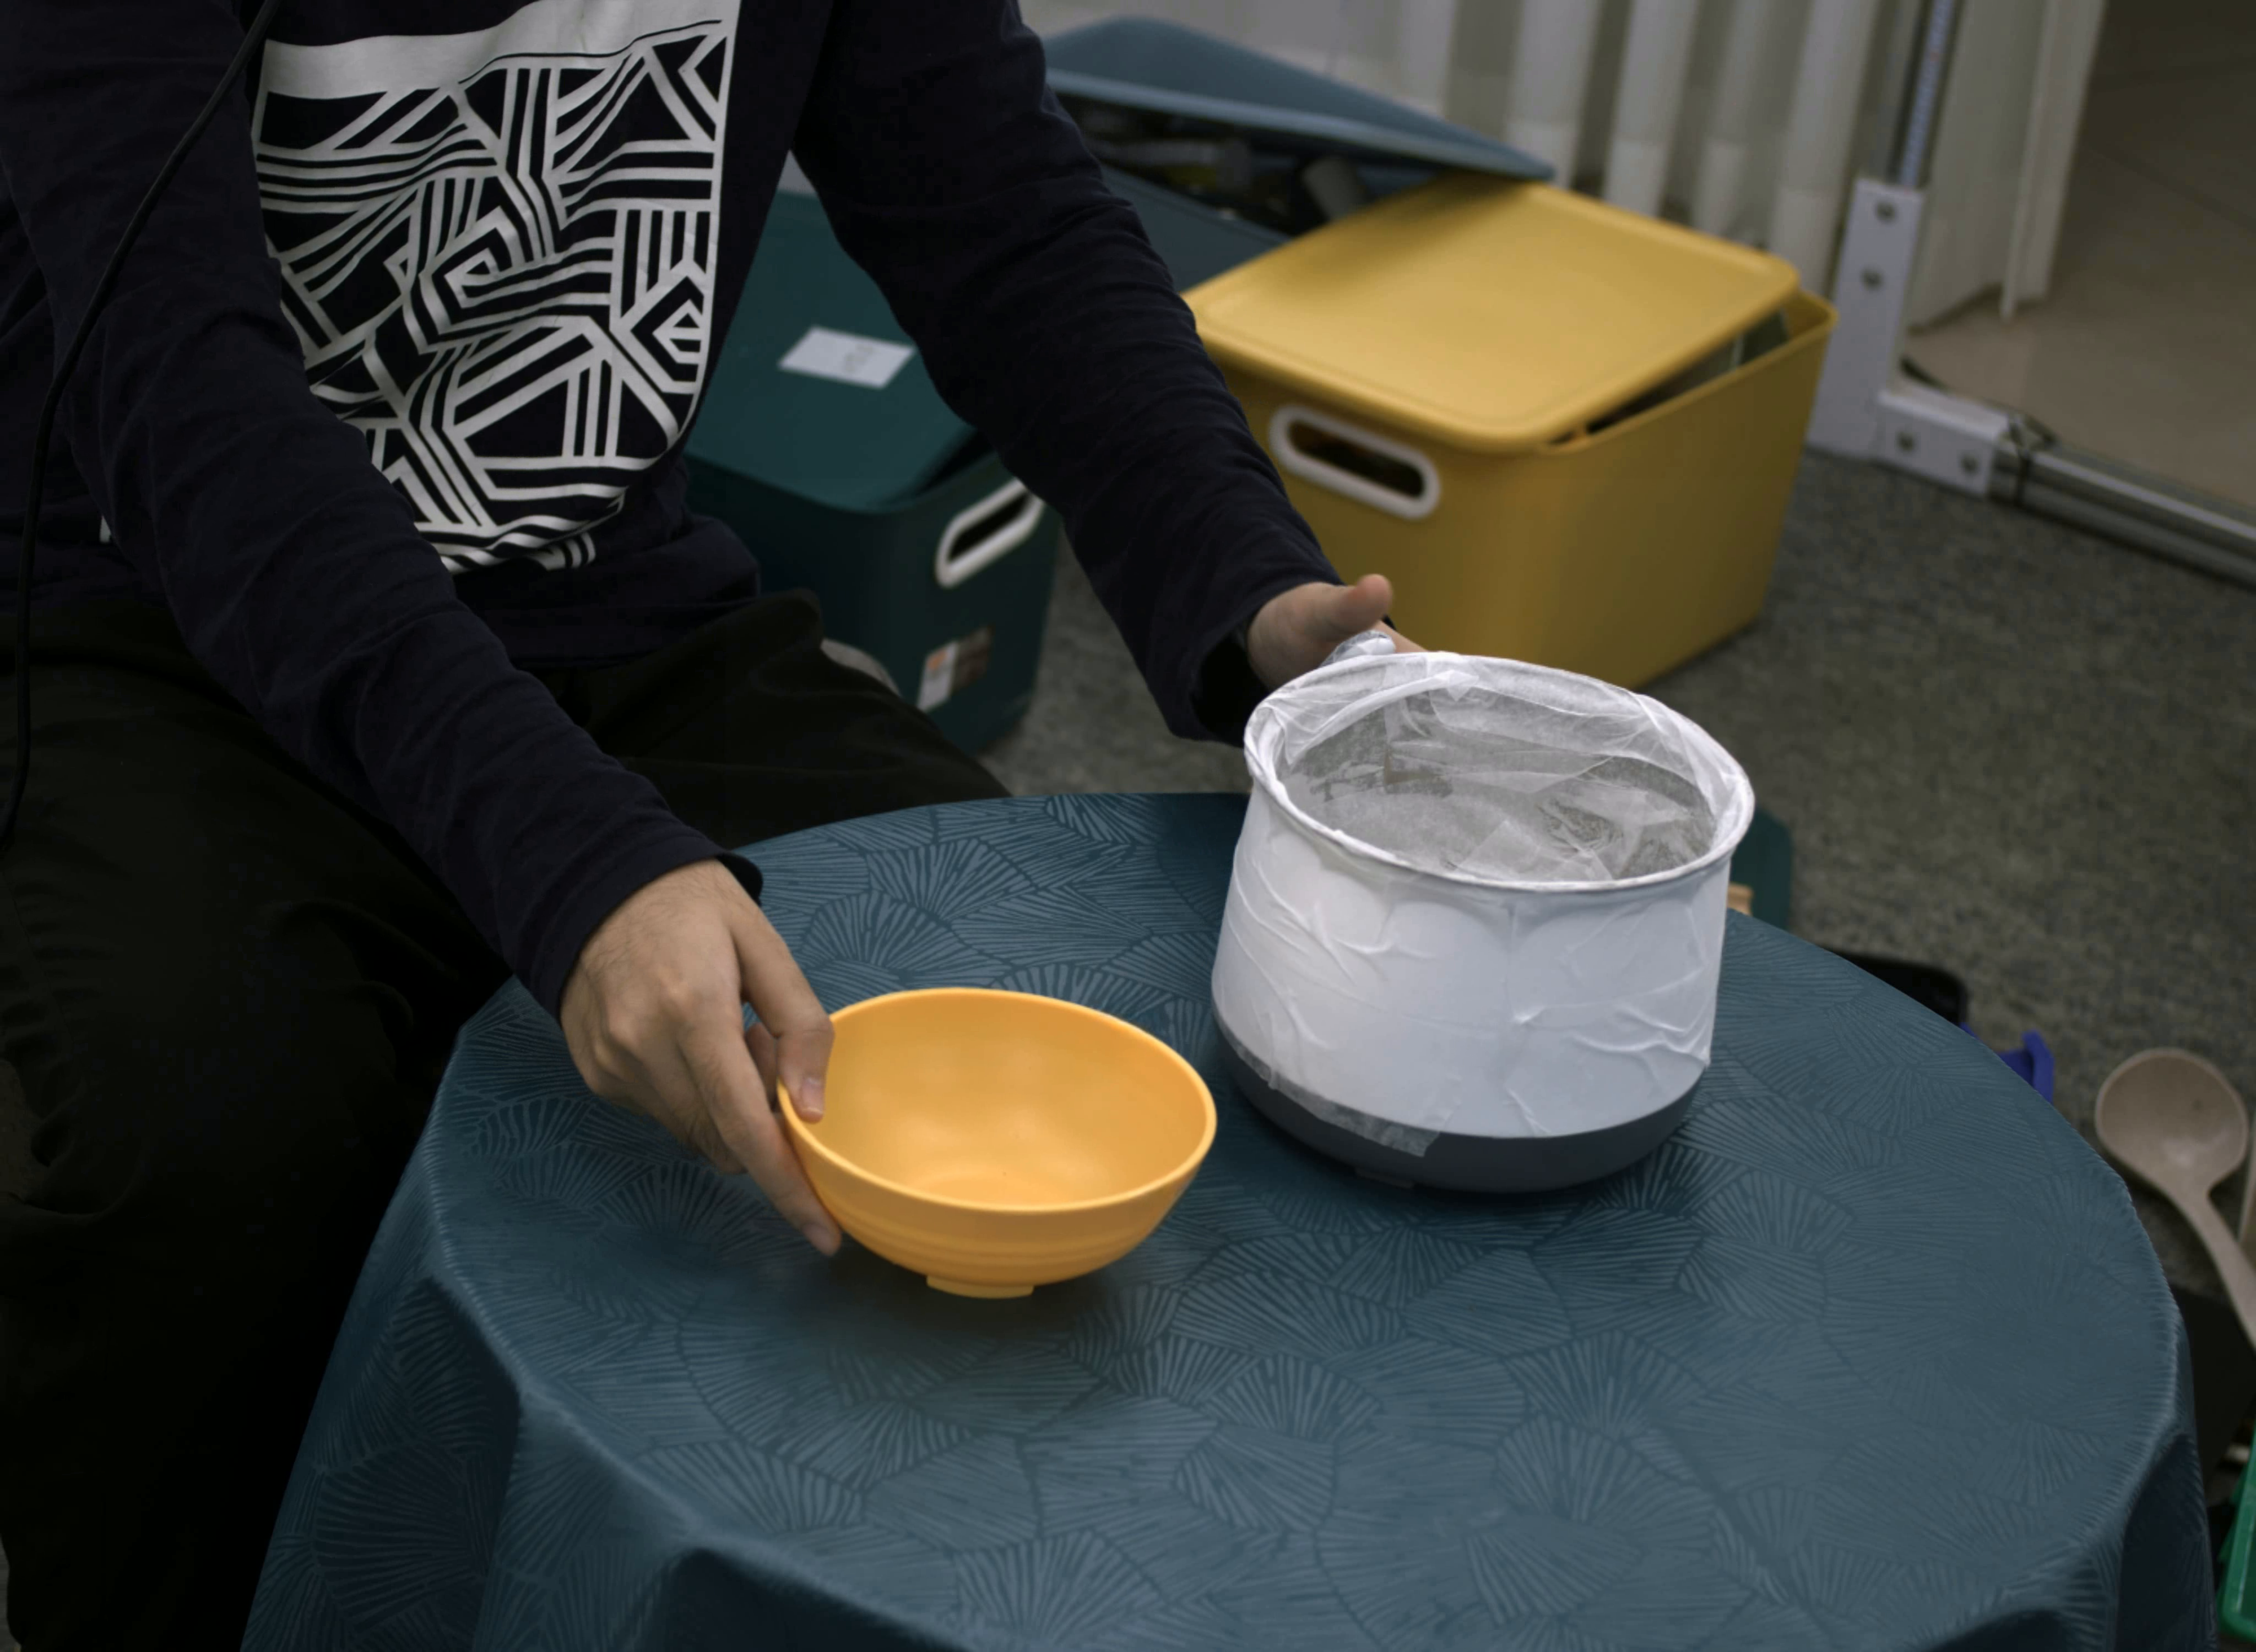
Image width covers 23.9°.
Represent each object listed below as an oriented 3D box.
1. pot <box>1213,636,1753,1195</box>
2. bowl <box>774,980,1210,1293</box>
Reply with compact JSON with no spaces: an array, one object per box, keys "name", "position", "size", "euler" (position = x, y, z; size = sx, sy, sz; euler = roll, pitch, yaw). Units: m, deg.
[{"name":"pot","position":[0.109,0.025,1.880],"size":[0.177,0.136,0.236],"euler":[-6,28,-24]},{"name":"bowl","position":[-0.048,0.111,1.750],"size":[0.145,0.060,0.146],"euler":[7,27,-4]}]
